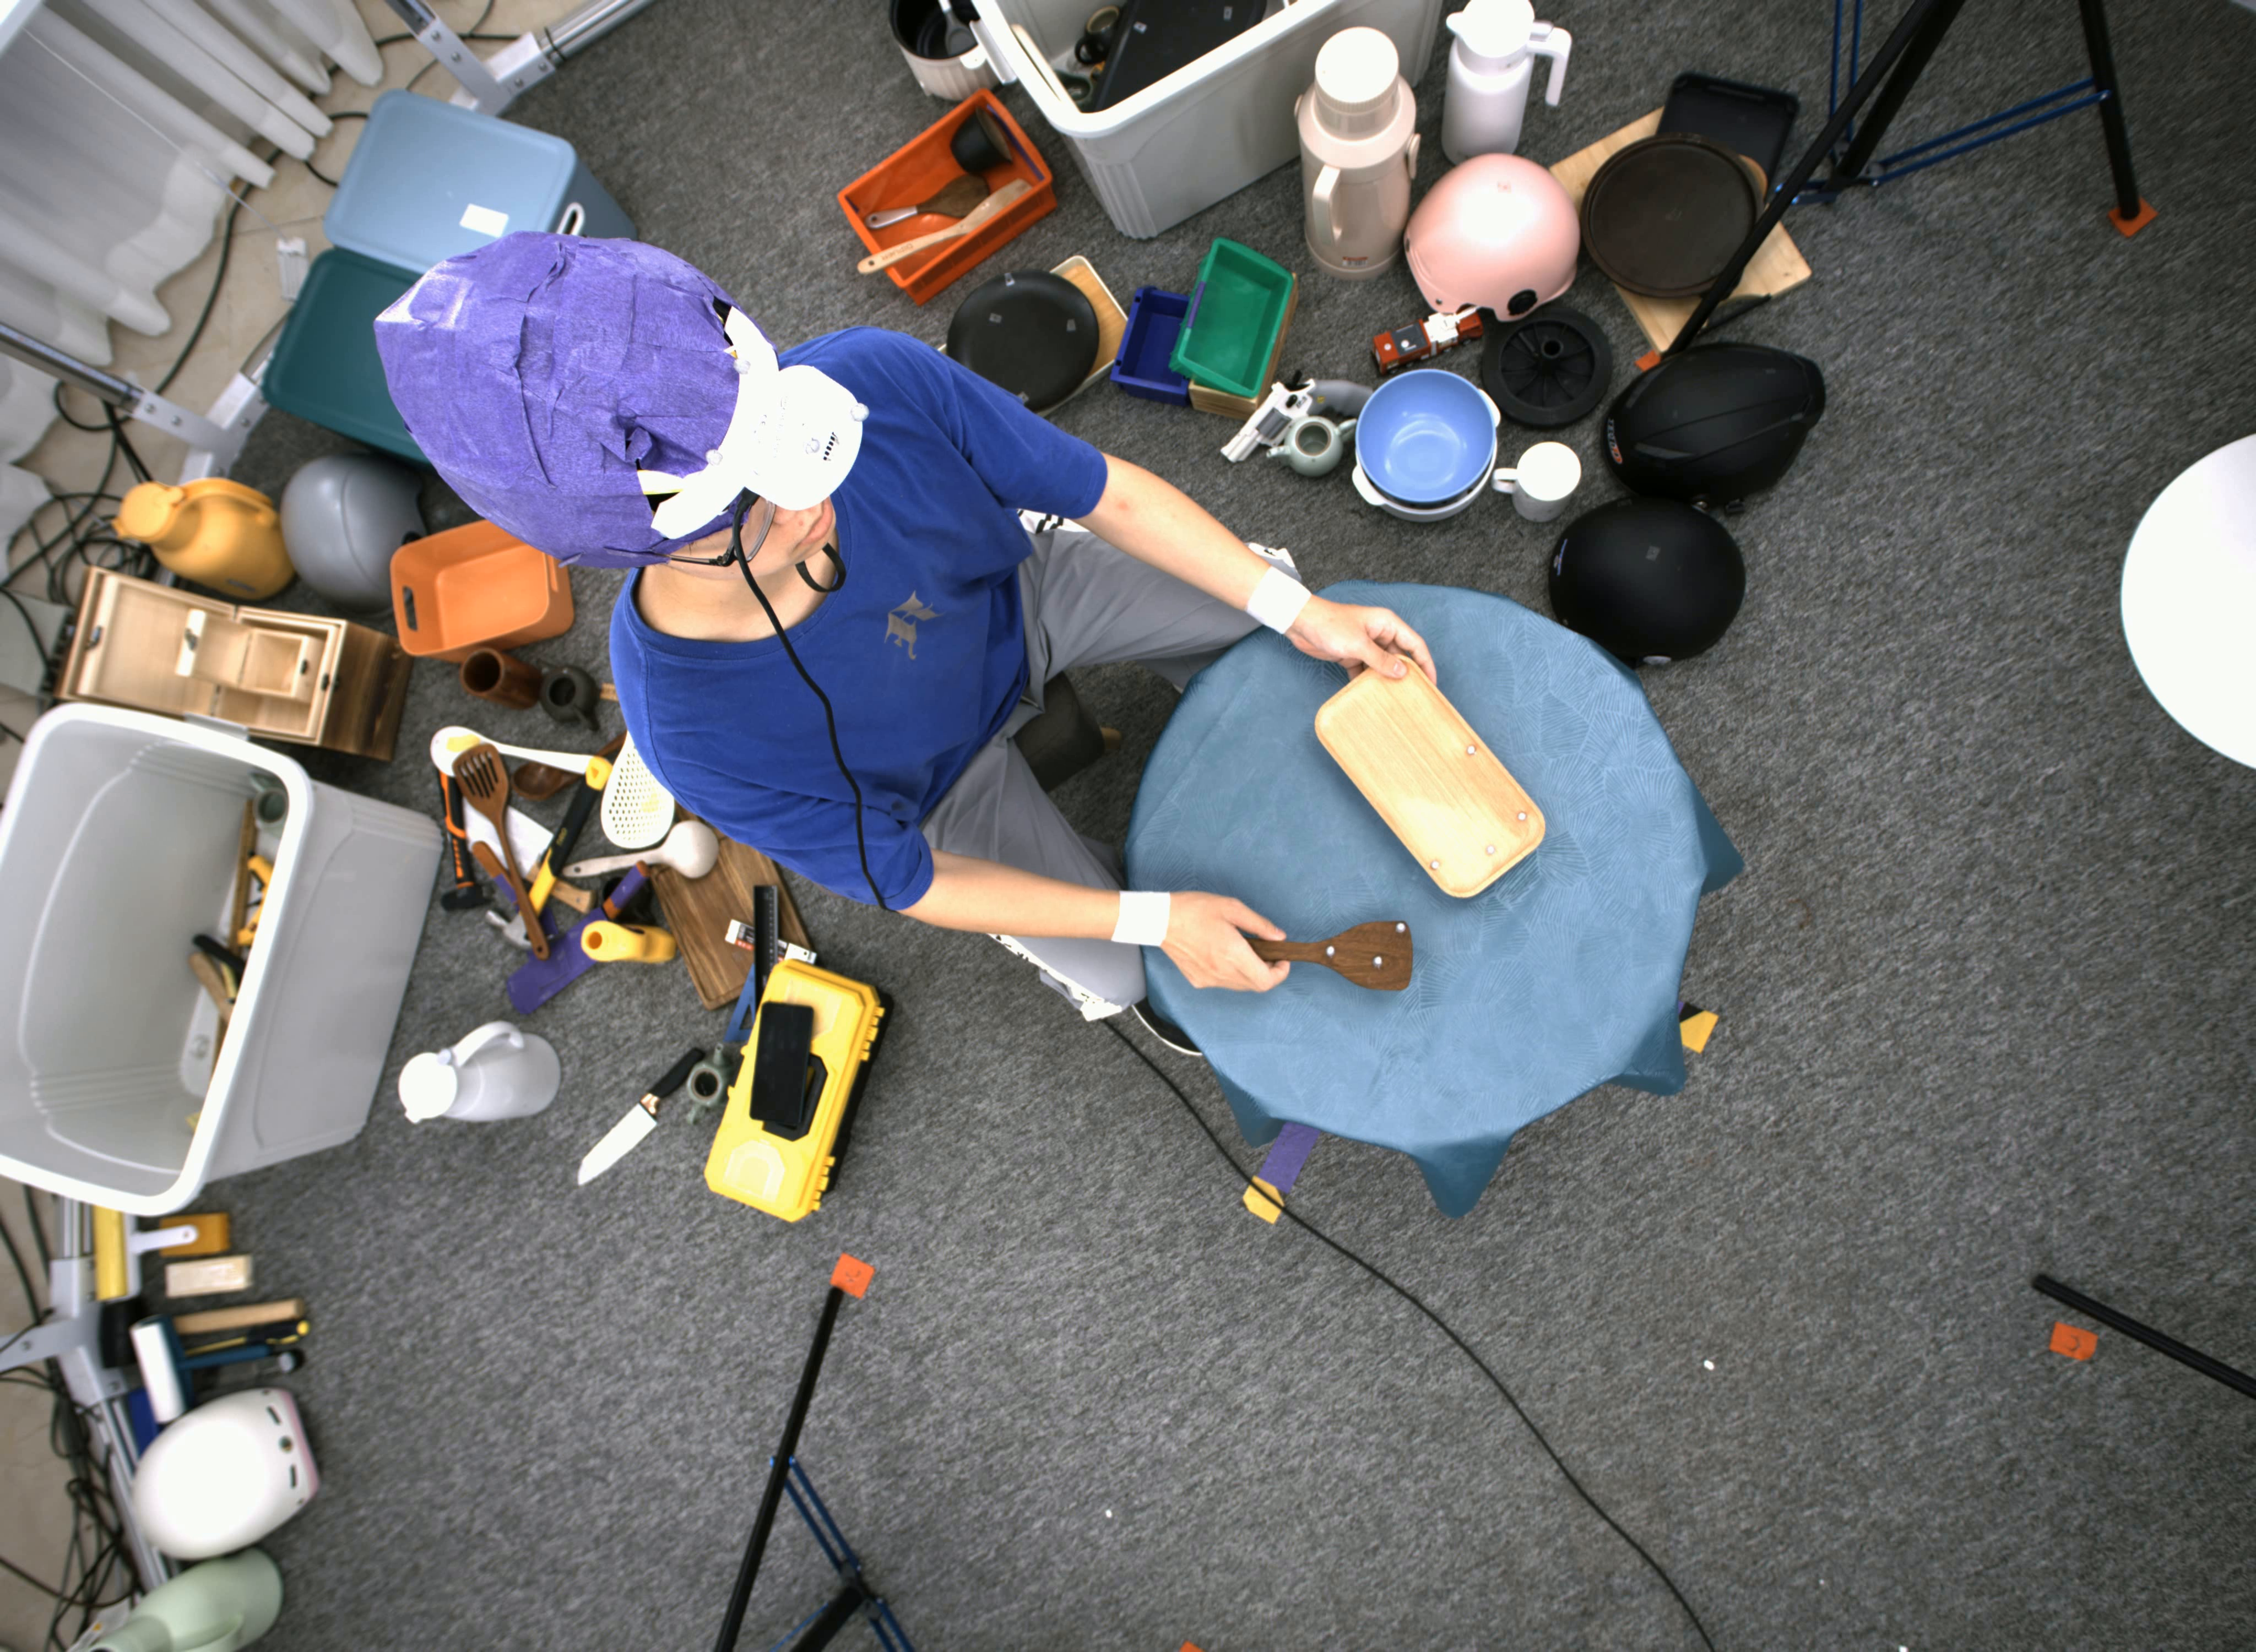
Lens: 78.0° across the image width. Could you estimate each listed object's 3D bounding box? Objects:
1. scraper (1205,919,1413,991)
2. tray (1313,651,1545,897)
[{"bbox_3d":[0.183,0.127,1.414,0.212,0.011,0.074,2,72,11],"label":"scraper"},{"bbox_3d":[0.306,-0.055,1.405,0.131,0.023,0.249,-38,82,9],"label":"tray"}]
